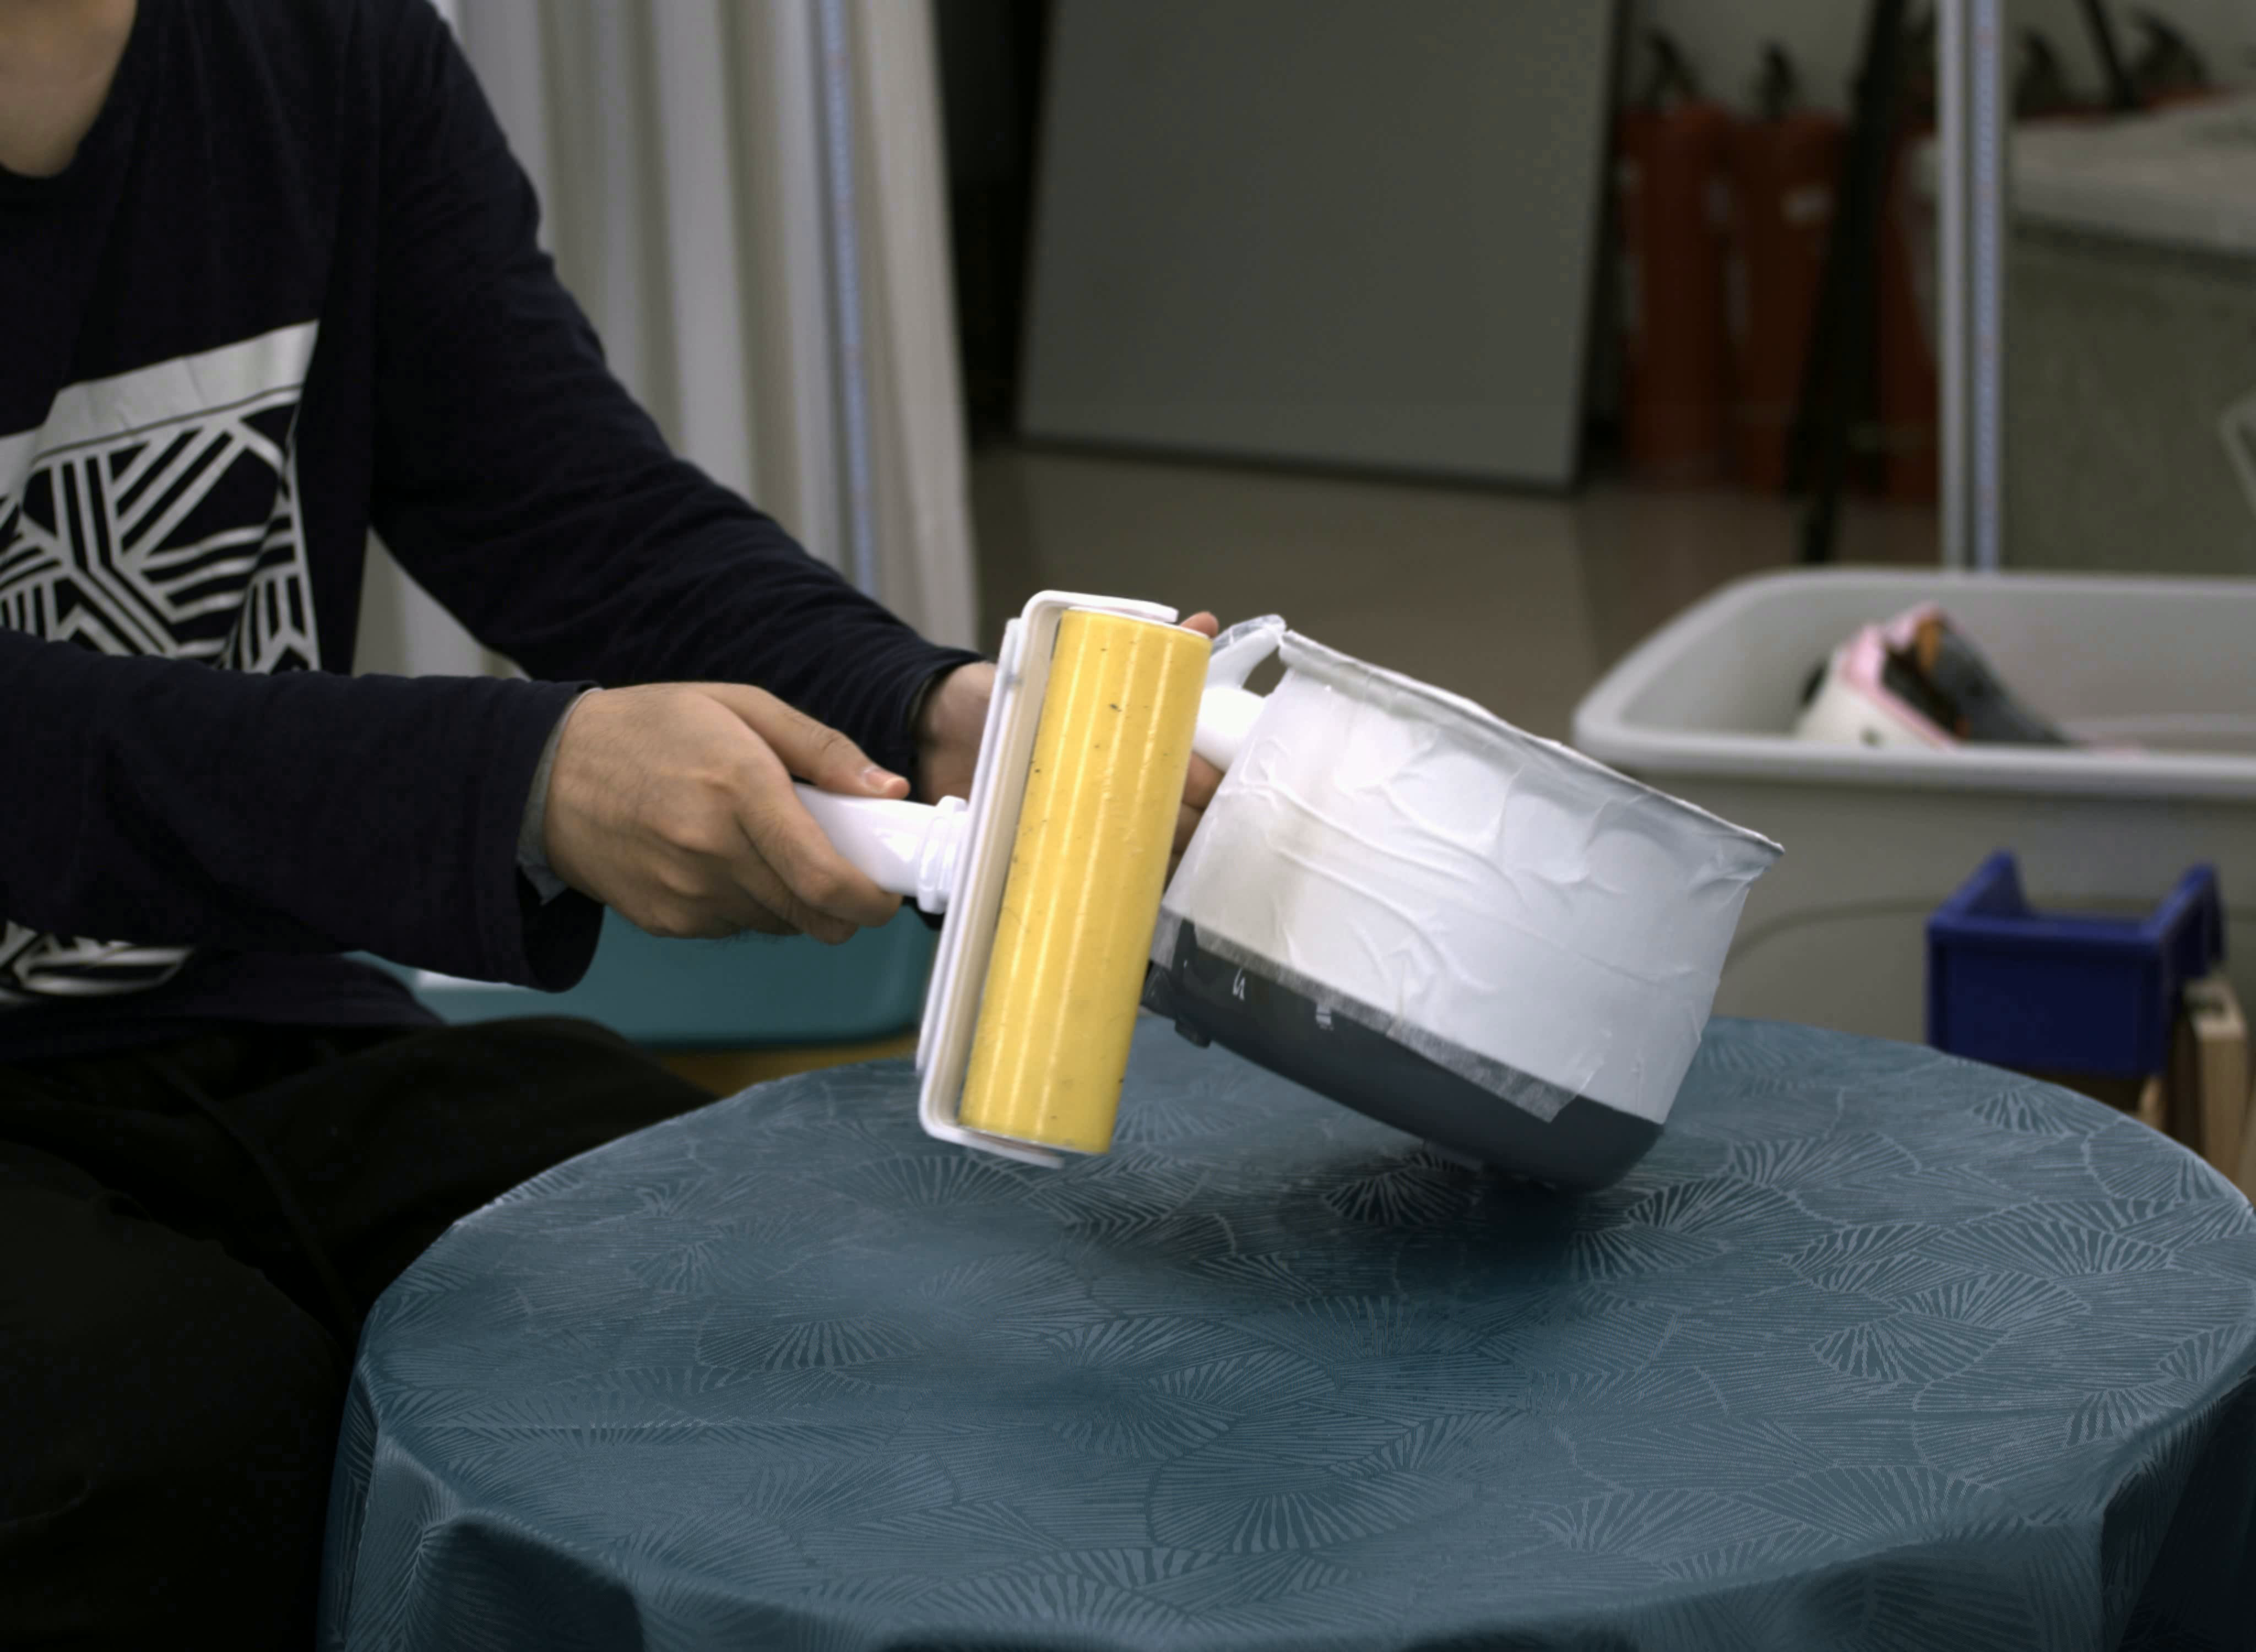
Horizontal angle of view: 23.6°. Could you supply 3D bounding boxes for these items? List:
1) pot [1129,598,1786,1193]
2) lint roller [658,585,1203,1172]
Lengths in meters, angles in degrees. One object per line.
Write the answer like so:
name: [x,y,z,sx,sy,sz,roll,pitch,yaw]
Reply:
pot: [0.081,0.017,1.733,0.234,0.138,0.176,25,1,23]
lint roller: [-0.075,0.007,1.658,0.193,0.176,0.050,8,-6,31]
